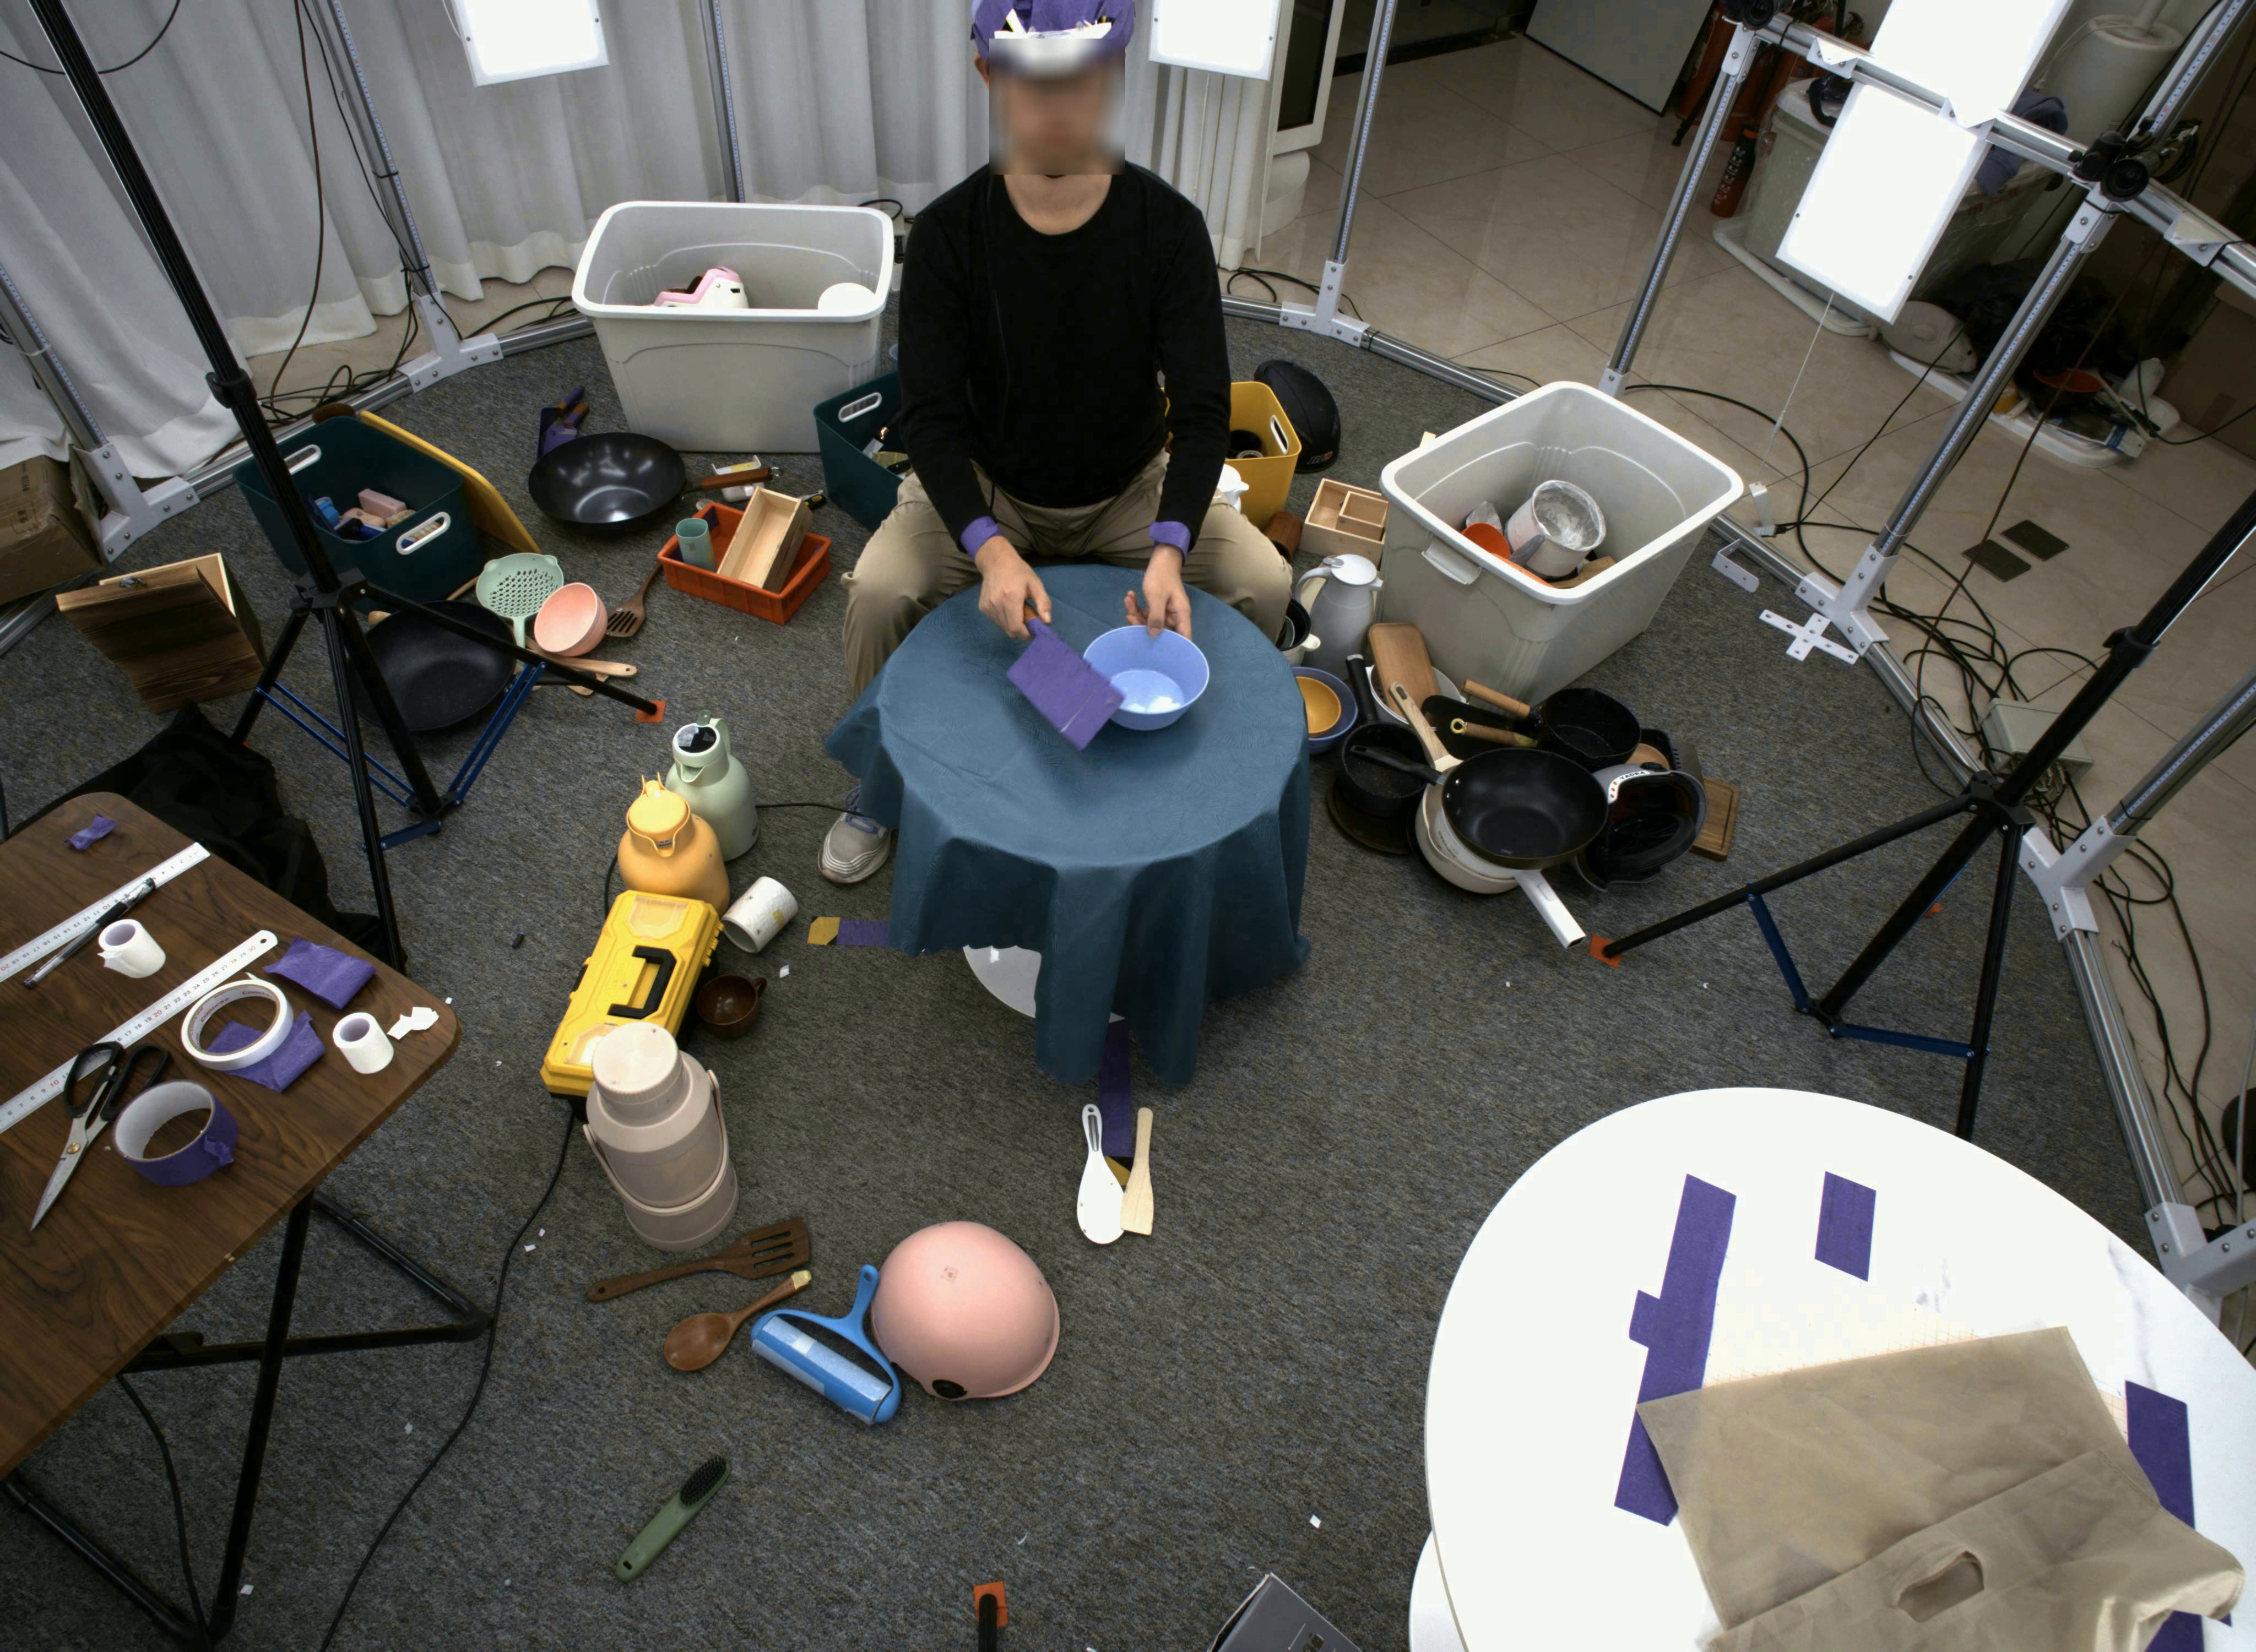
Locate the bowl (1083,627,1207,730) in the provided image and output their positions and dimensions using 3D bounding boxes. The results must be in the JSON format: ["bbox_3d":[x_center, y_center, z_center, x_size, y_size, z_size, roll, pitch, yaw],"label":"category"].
[{"bbox_3d":[0.020,-0.198,1.796,0.176,0.068,0.180,2,48,-3],"label":"bowl"}]

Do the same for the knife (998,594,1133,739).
[{"bbox_3d":[-0.110,-0.222,1.759,0.103,0.031,0.321,-51,46,4],"label":"knife"}]
